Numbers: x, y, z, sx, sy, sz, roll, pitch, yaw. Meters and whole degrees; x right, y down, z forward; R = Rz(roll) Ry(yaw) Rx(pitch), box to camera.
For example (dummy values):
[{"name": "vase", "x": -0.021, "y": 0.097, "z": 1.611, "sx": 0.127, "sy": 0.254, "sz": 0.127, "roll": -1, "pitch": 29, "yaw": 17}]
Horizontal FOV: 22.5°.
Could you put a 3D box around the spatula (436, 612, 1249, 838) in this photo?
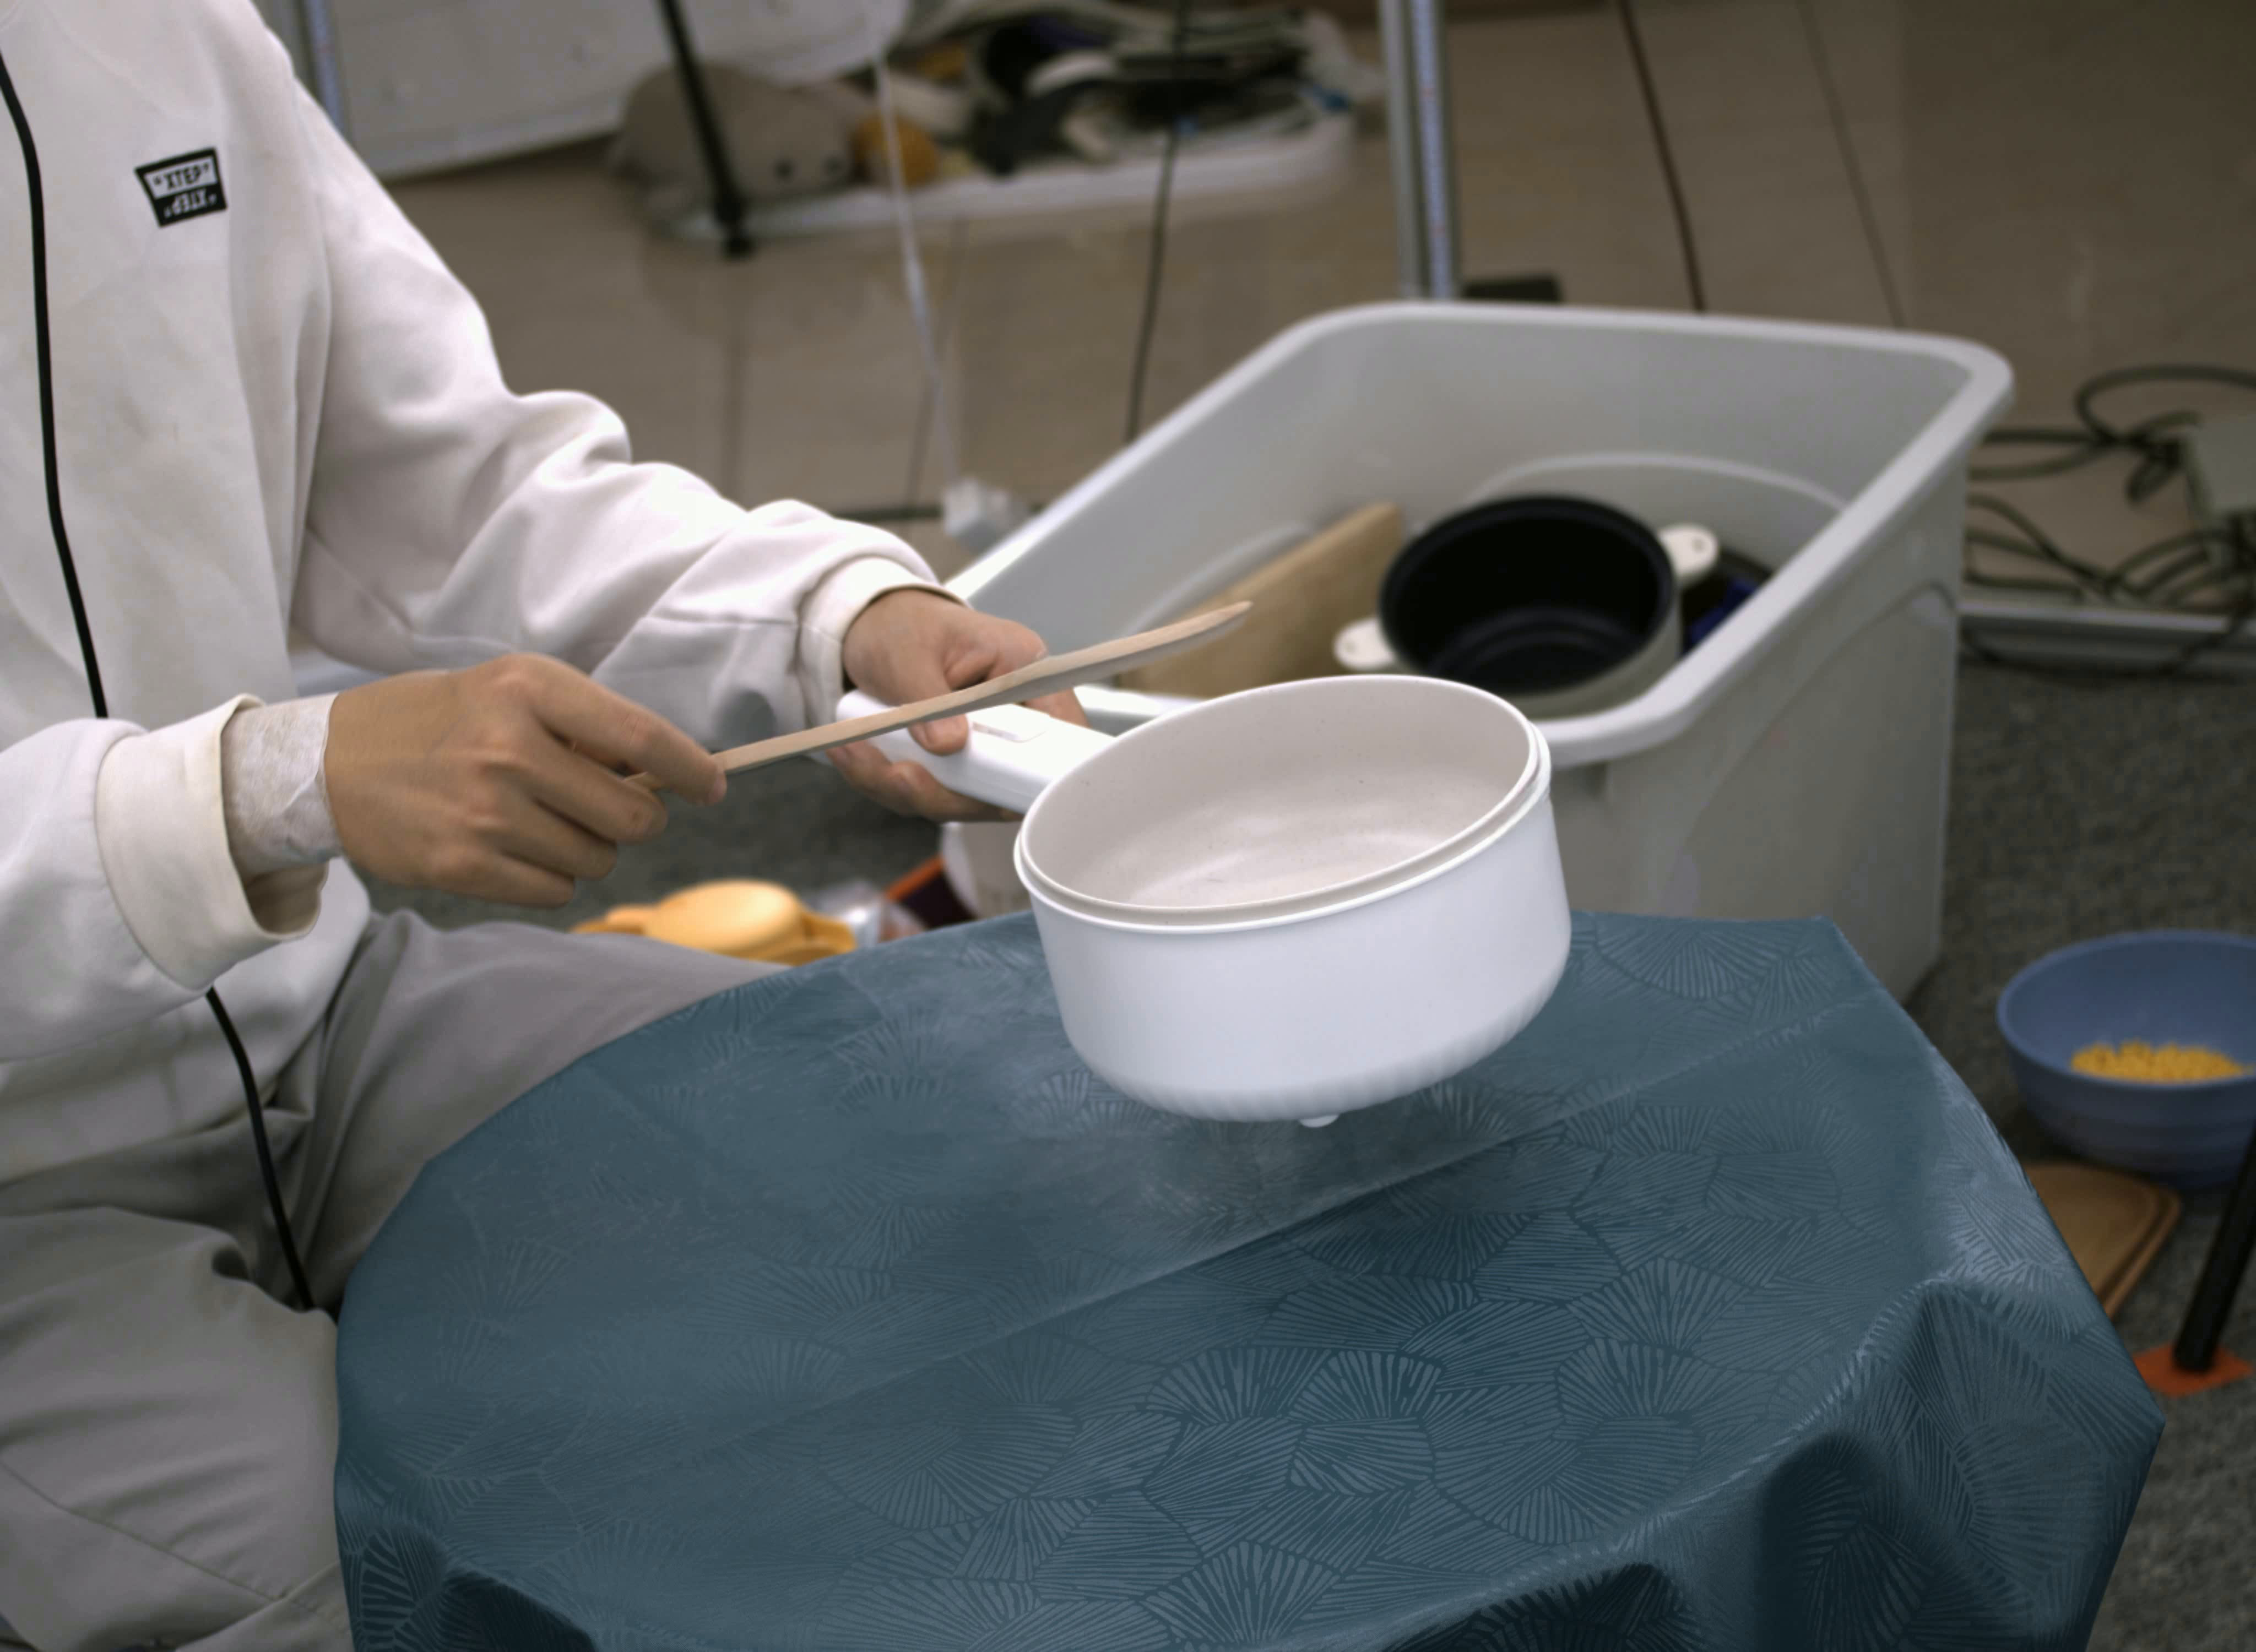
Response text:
[{"name": "spatula", "x": -0.099, "y": -0.034, "z": 1.979, "sx": 0.292, "sy": 0.010, "sz": 0.072, "roll": -14, "pitch": -2, "yaw": -4}]

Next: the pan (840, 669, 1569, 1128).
[{"name": "pan", "x": 0.016, "y": 0.017, "z": 2.163, "sx": 0.199, "sy": 0.103, "sz": 0.352, "roll": -30, "pitch": 29, "yaw": -31}]
